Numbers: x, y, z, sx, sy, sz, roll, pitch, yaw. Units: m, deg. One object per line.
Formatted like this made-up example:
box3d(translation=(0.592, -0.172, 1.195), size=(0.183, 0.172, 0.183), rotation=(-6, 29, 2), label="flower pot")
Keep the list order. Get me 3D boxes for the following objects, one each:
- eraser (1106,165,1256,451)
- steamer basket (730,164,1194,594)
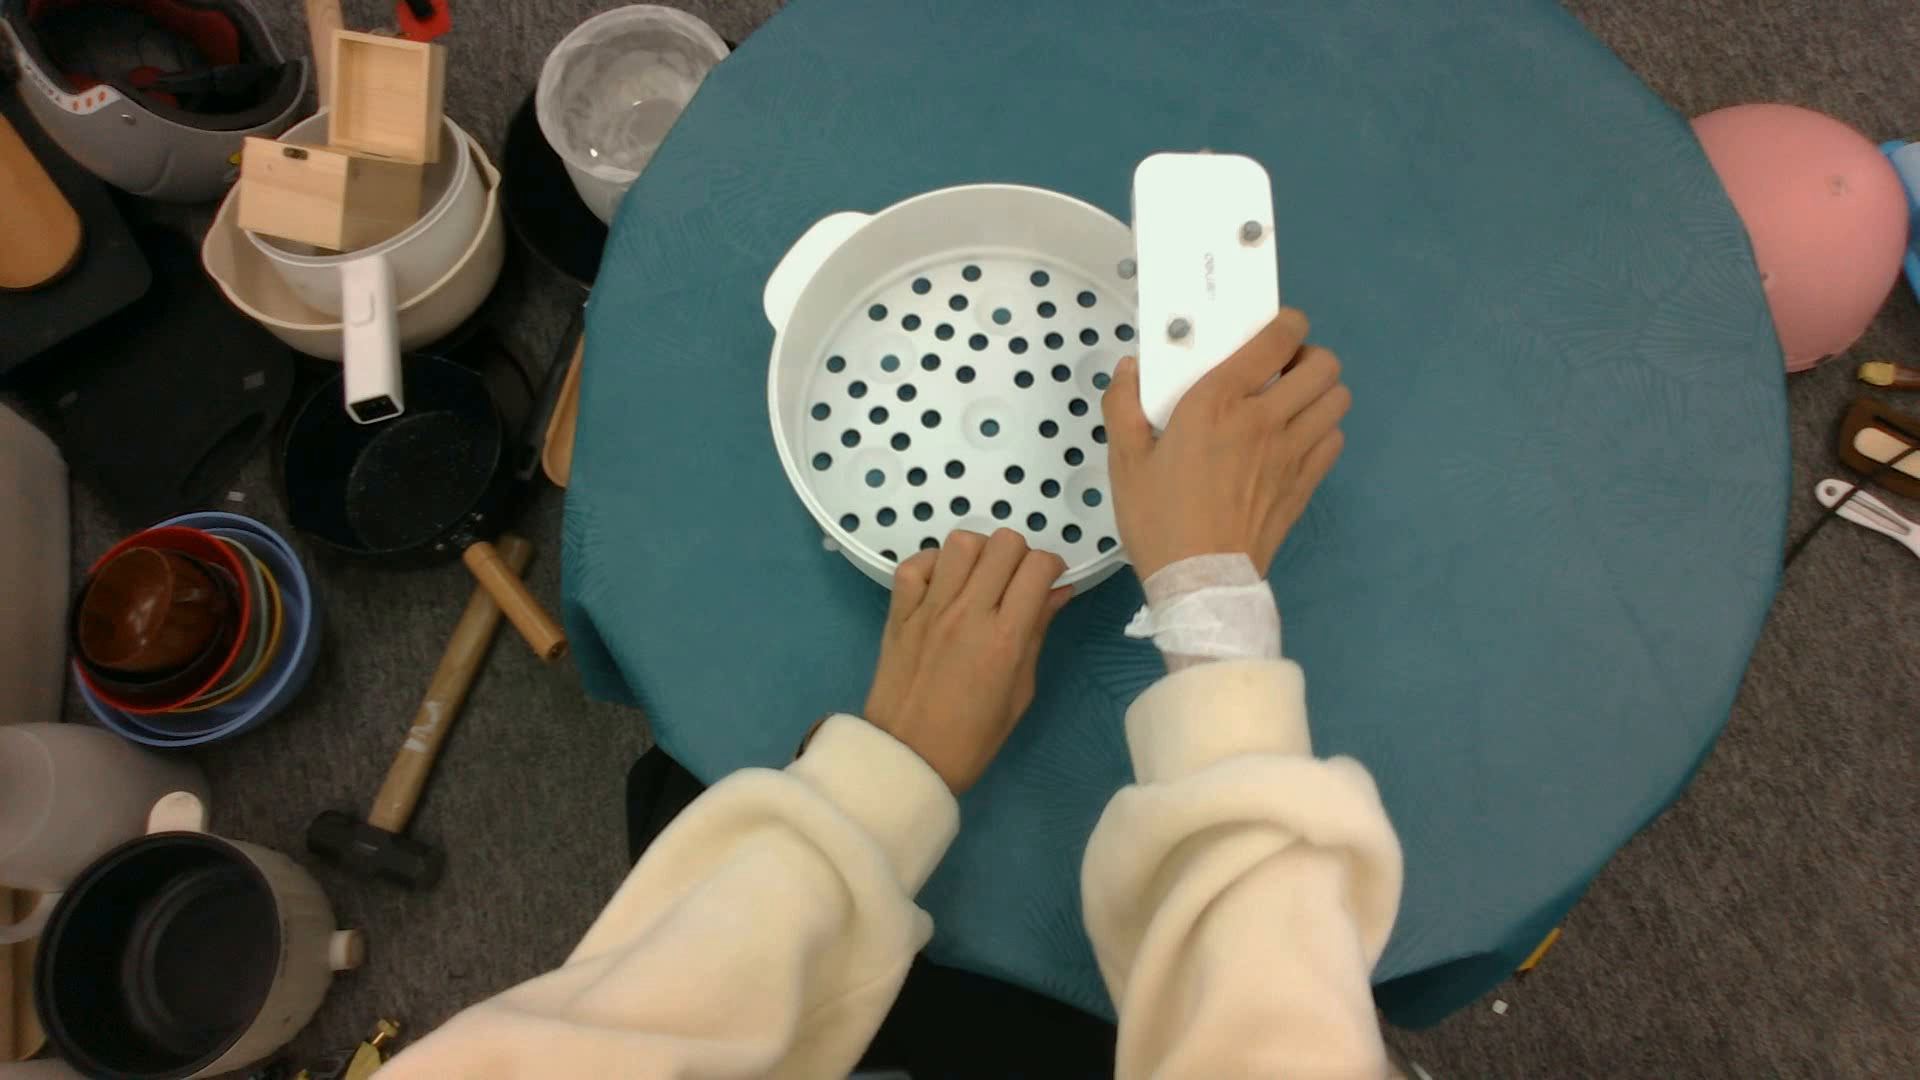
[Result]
box3d(translation=(0.094, -0.103, 0.607), size=(0.063, 0.034, 0.131), rotation=(2, 74, -5), label="eraser")
box3d(translation=(-0.001, -0.074, 0.649), size=(0.230, 0.069, 0.202), rotation=(34, 76, 11), label="steamer basket")
